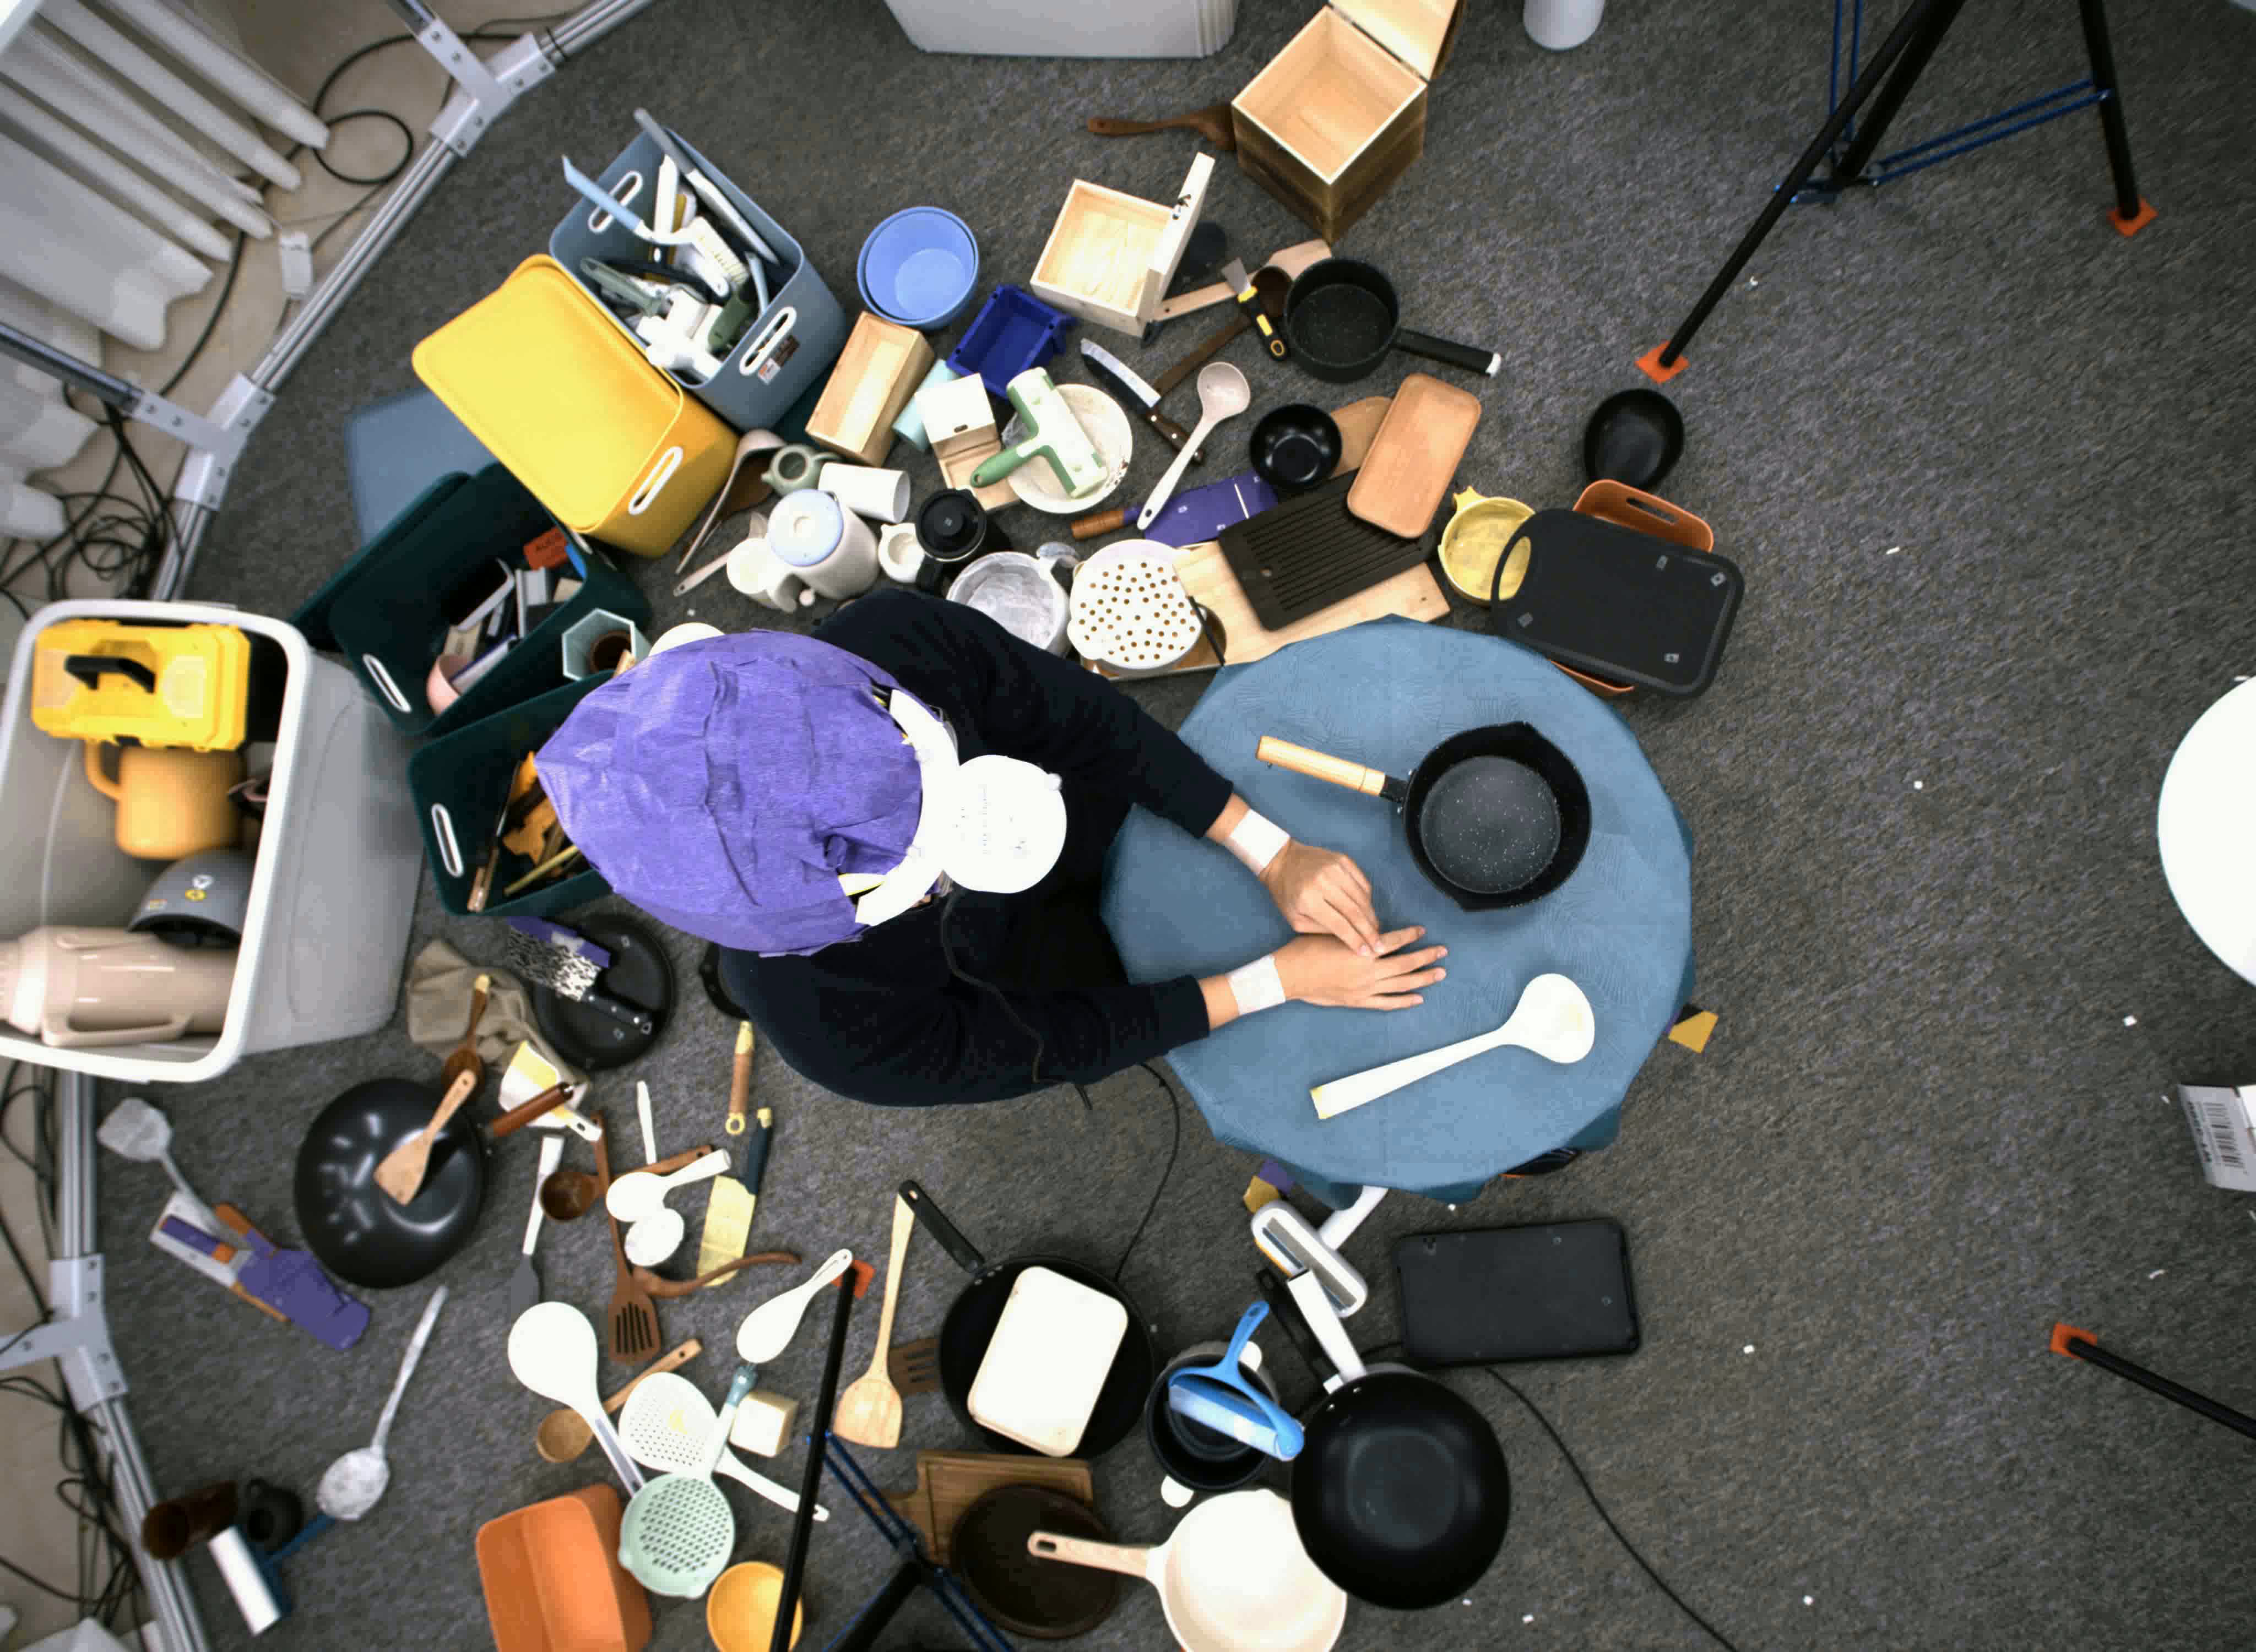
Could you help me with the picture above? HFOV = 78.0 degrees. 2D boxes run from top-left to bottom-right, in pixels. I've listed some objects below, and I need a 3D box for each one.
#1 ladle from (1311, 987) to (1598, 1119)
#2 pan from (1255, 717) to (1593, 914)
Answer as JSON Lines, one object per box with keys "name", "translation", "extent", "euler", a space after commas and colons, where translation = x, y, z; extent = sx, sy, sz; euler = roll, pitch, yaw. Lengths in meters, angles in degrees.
{"name": "ladle", "translation": [0.329, 0.241, 1.407], "extent": [0.295, 0.069, 0.090], "euler": [-20, 88, 9]}
{"name": "pan", "translation": [0.296, -0.029, 1.406], "extent": [0.343, 0.108, 0.207], "euler": [16, 90, 10]}
